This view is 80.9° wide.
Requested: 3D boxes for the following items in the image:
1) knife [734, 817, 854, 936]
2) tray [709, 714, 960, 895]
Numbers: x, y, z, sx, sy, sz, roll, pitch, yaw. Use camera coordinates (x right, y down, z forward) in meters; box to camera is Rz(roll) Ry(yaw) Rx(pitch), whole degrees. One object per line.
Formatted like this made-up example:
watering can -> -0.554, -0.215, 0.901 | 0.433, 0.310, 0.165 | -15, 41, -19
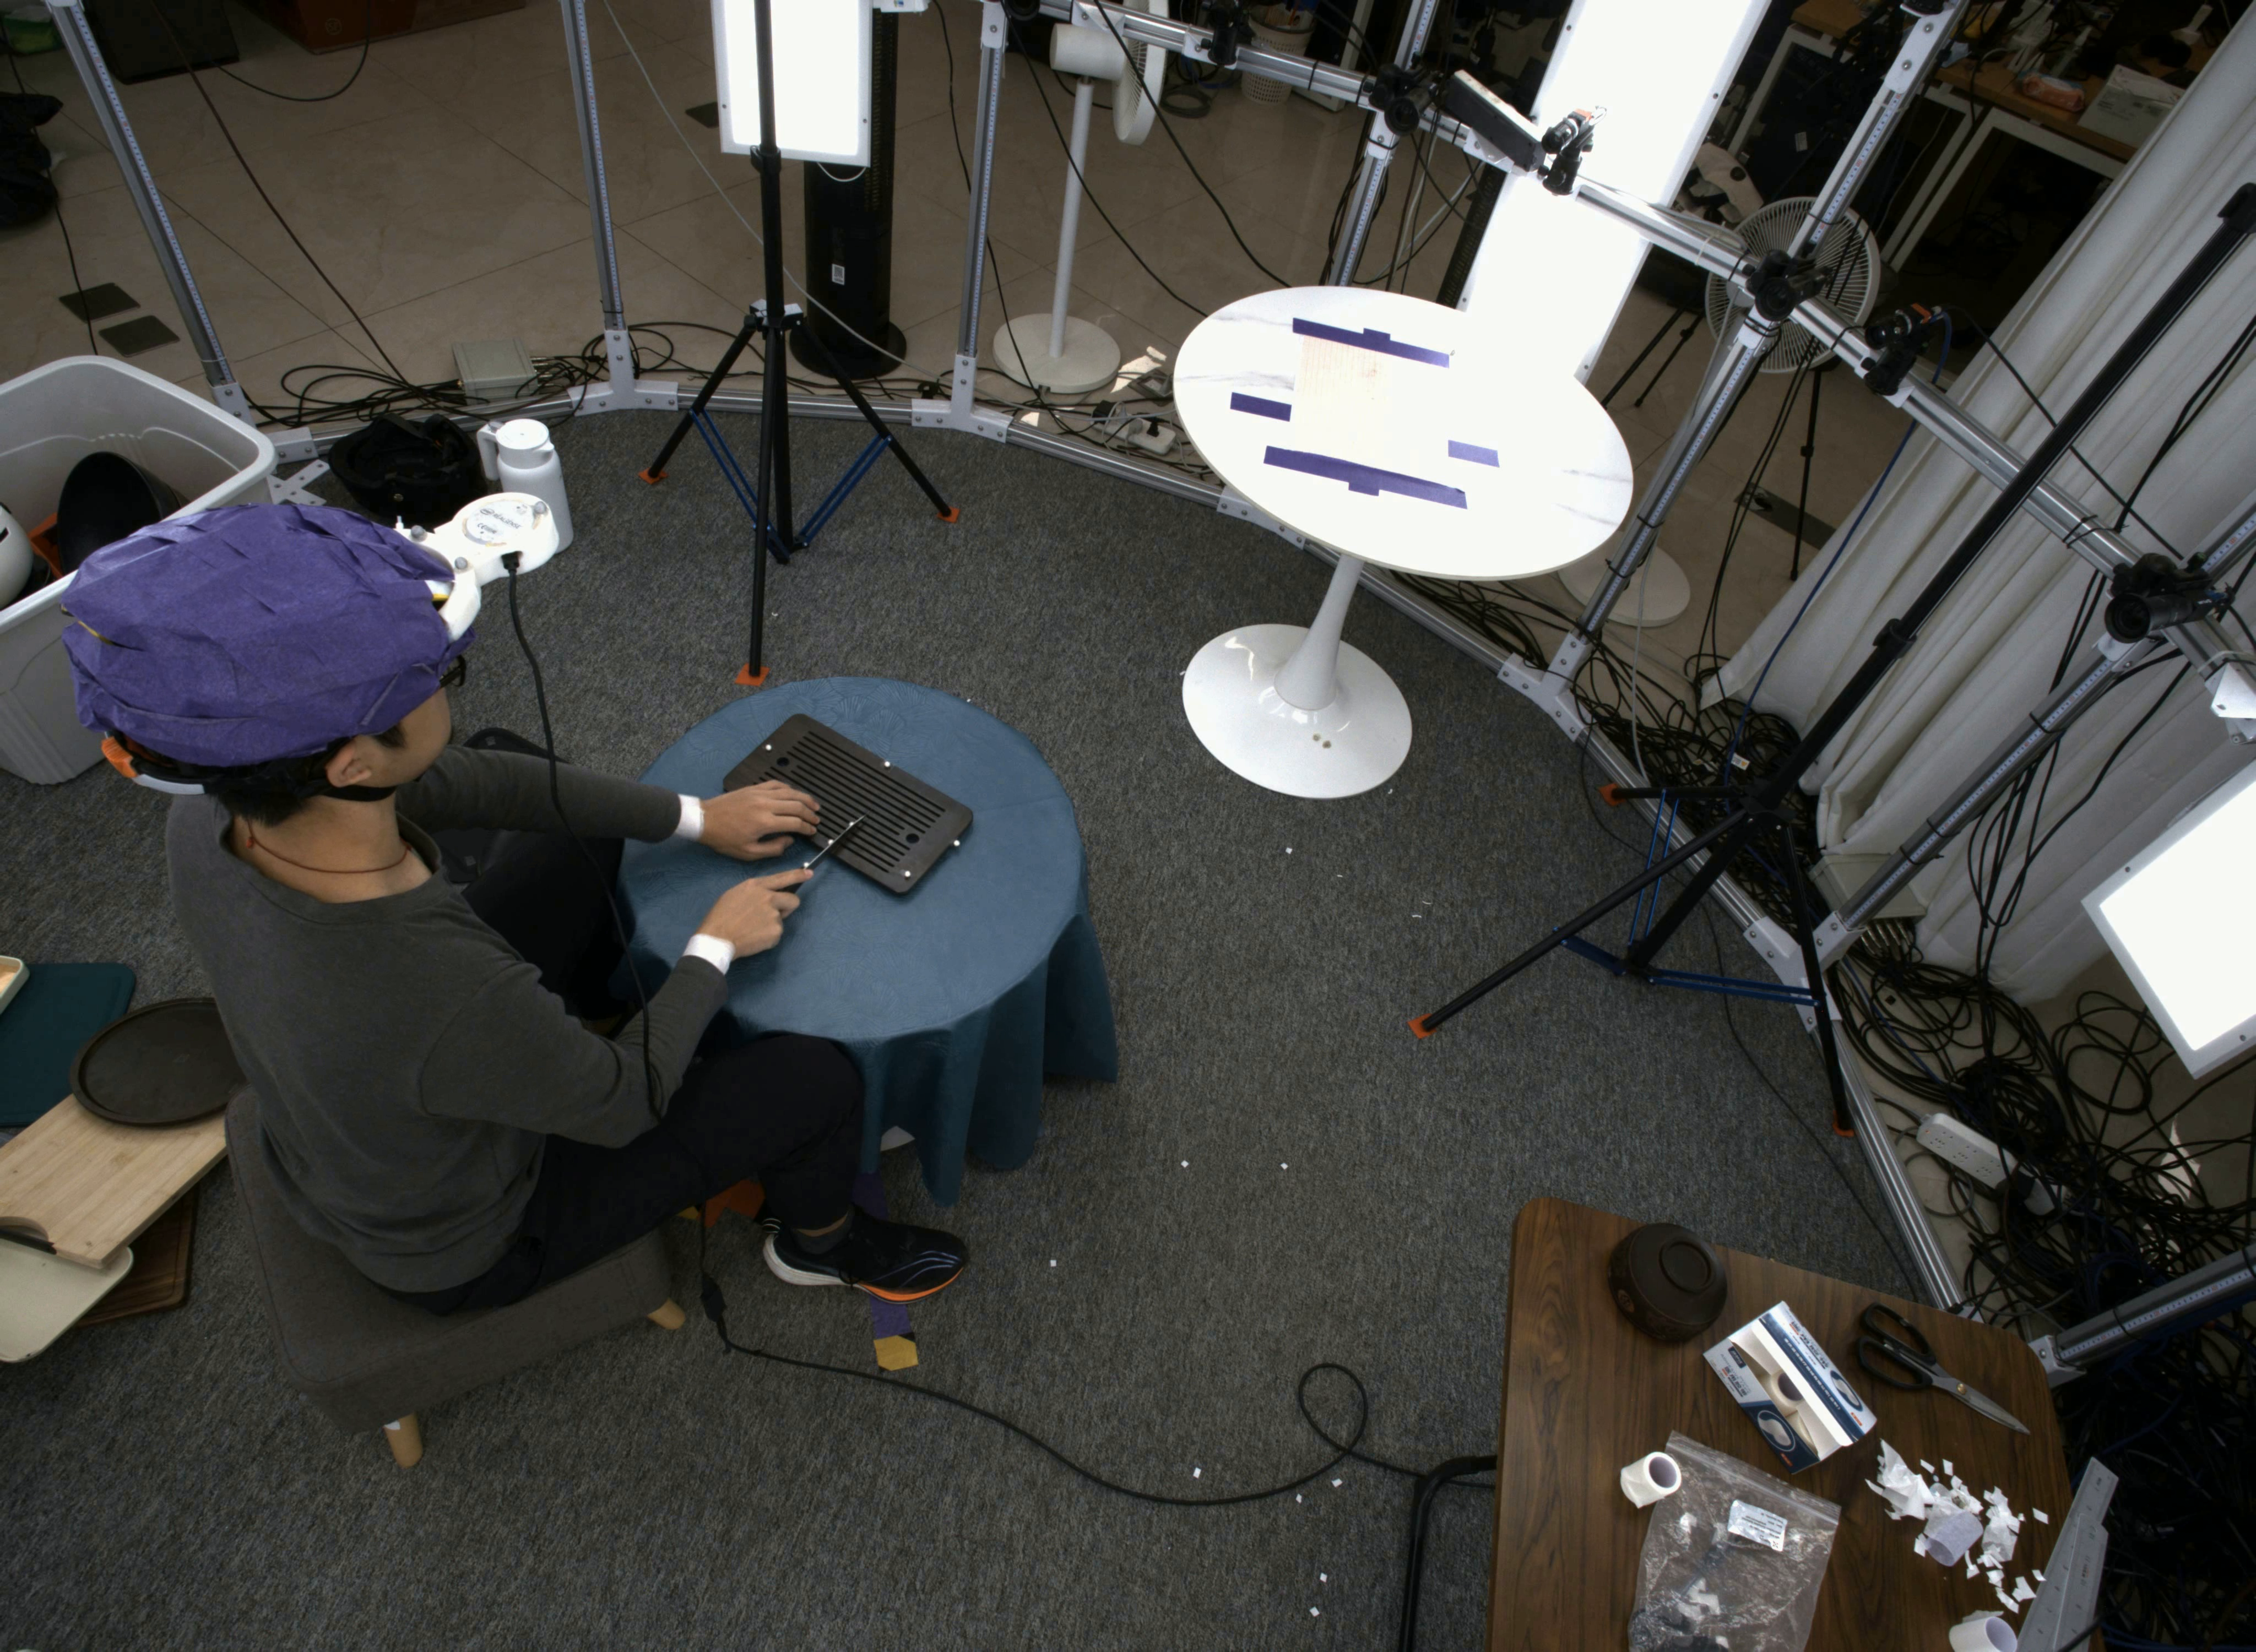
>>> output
knife -> -0.422, 0.055, 1.654 | 0.016, 0.025, 0.237 | 27, 48, 13
tray -> -0.396, -0.032, 1.755 | 0.301, 0.019, 0.169 | 29, 53, 8
